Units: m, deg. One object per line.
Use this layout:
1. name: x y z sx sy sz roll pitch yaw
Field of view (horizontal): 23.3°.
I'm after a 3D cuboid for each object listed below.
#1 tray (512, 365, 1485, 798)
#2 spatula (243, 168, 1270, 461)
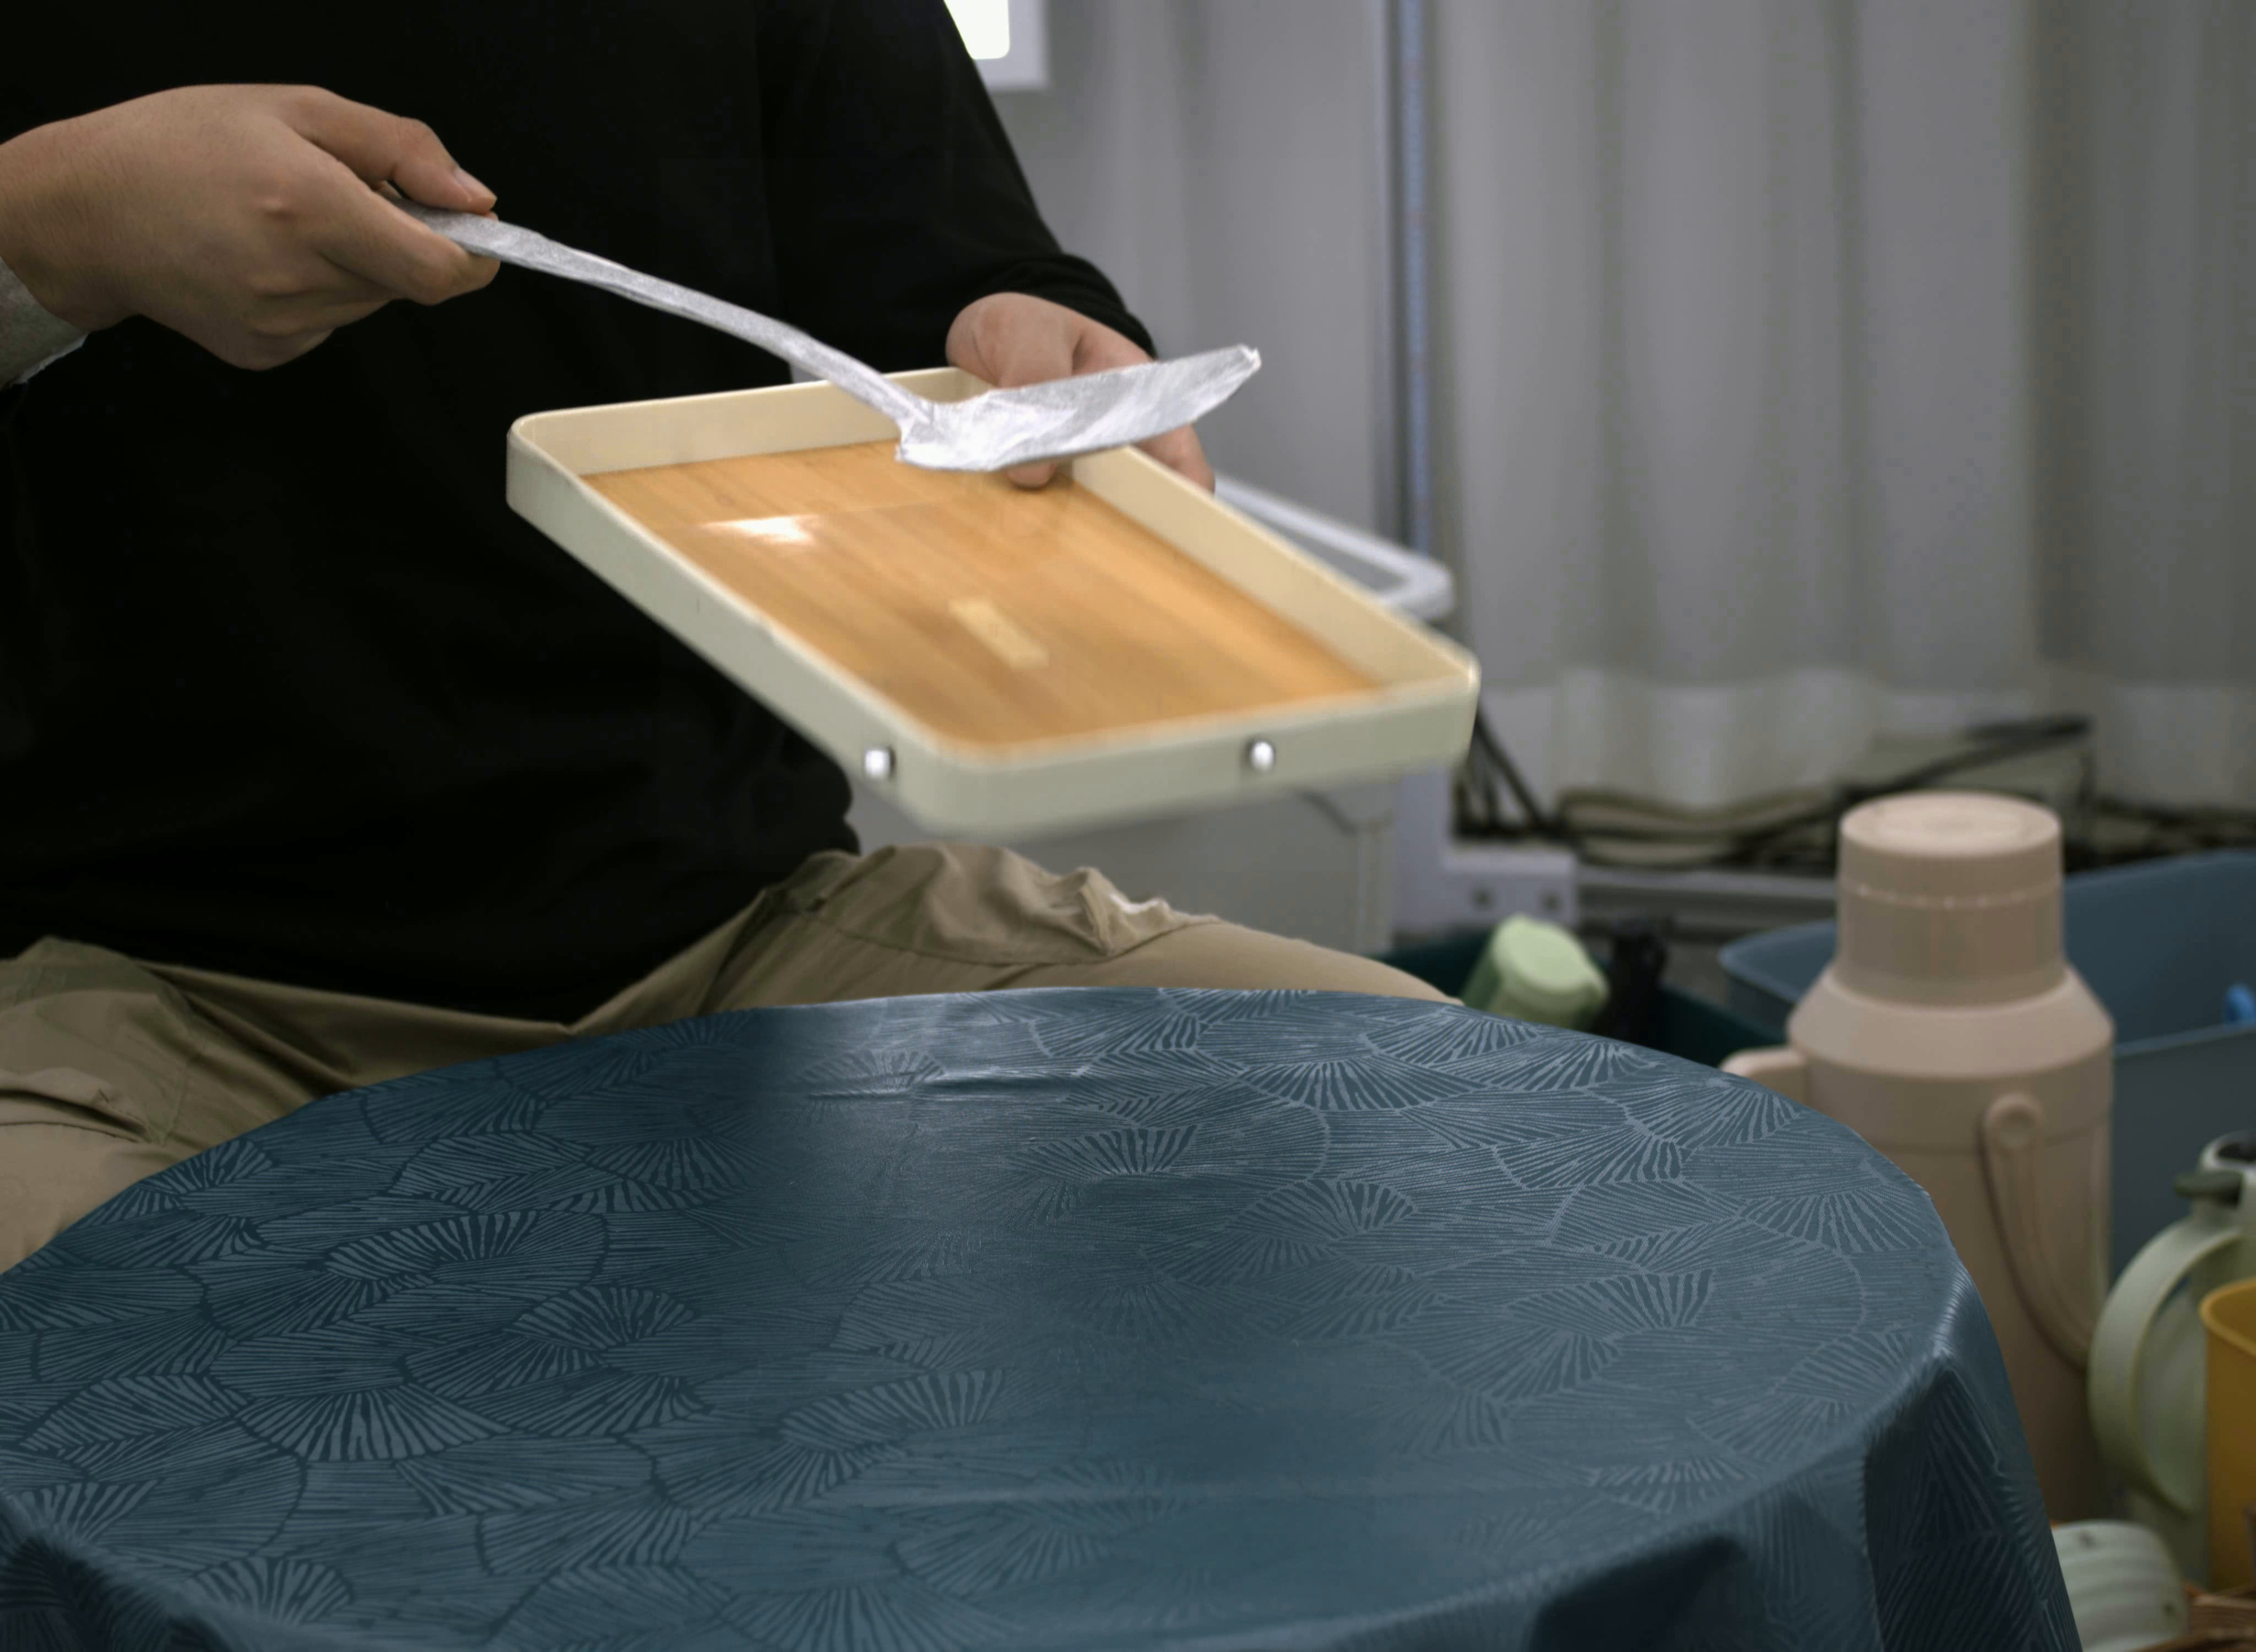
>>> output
1. tray: -0.046 -0.080 1.690 0.191 0.027 0.303 -9 25 -30
2. spatula: -0.129 -0.164 1.658 0.366 0.044 0.099 20 31 25
